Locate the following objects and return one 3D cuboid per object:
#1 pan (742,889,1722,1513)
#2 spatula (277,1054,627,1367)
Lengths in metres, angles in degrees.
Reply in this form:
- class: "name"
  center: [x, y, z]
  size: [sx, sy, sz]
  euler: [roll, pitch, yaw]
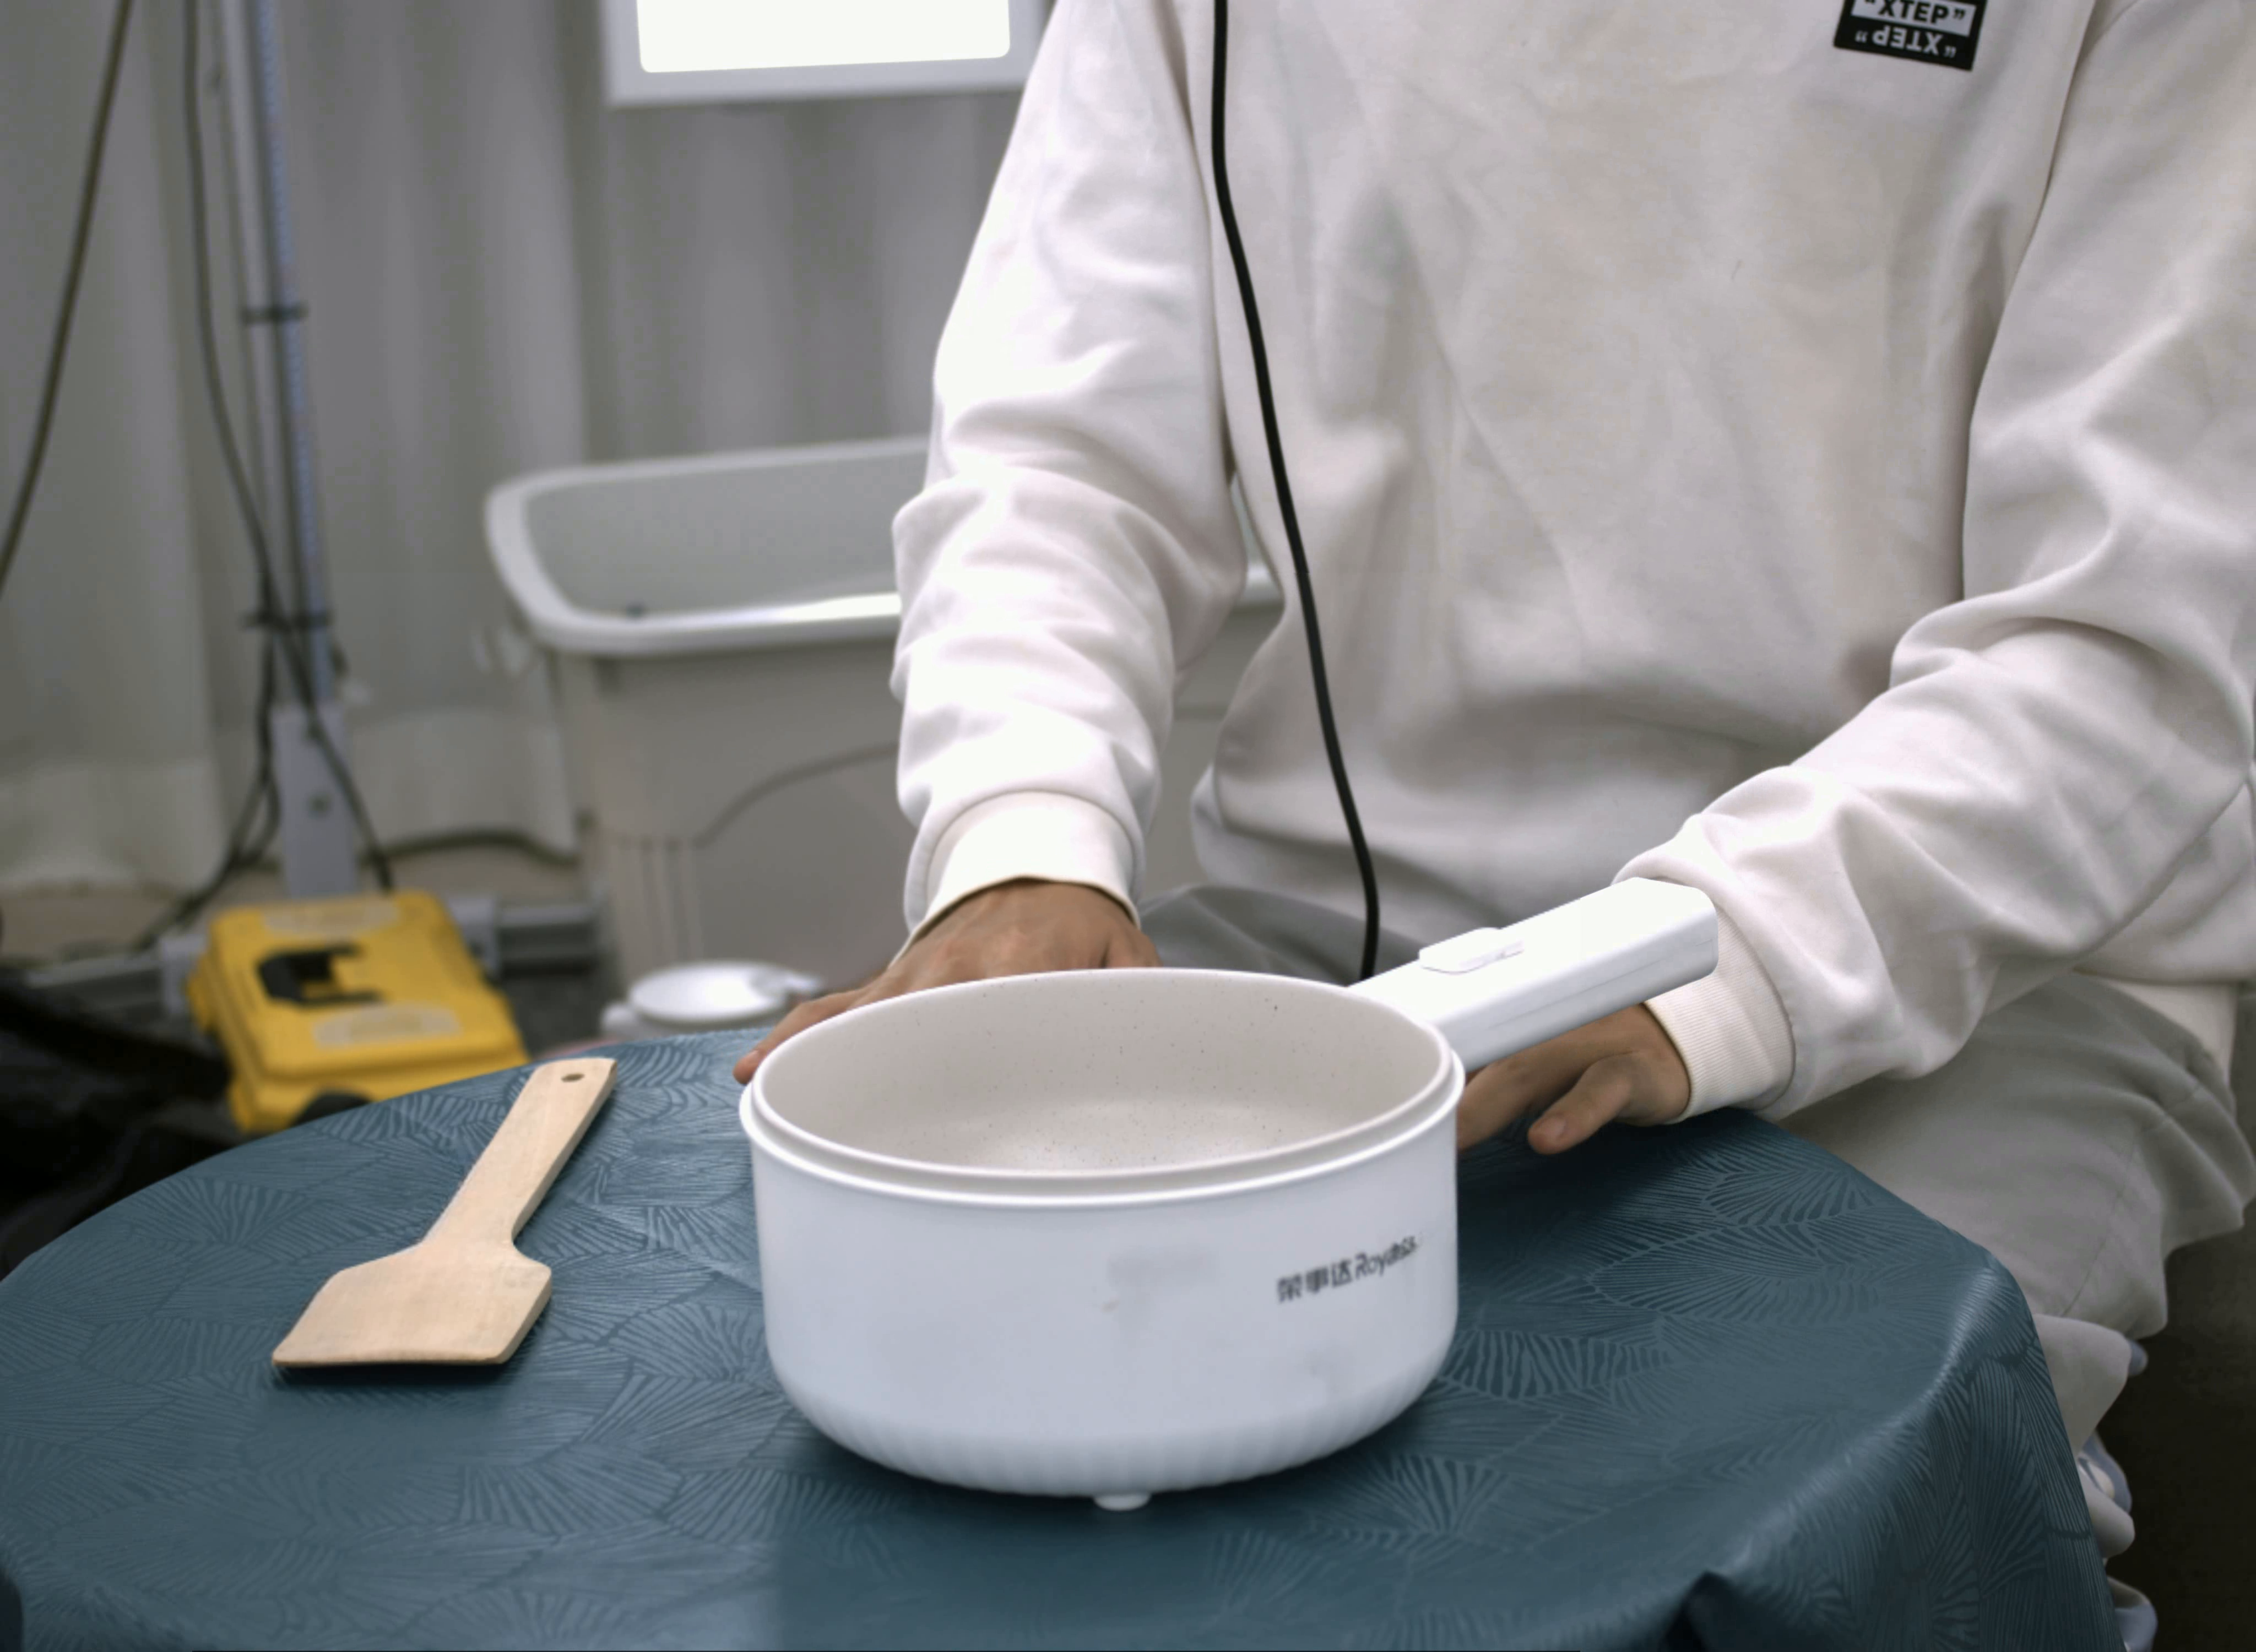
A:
- class: "pan"
  center: [0.048, 0.101, 1.577]
  size: [0.202, 0.102, 0.354]
  euler: [9, 18, 43]
- class: "spatula"
  center: [-0.199, 0.119, 1.720]
  size: [0.072, 0.010, 0.295]
  euler: [-2, 15, 7]
